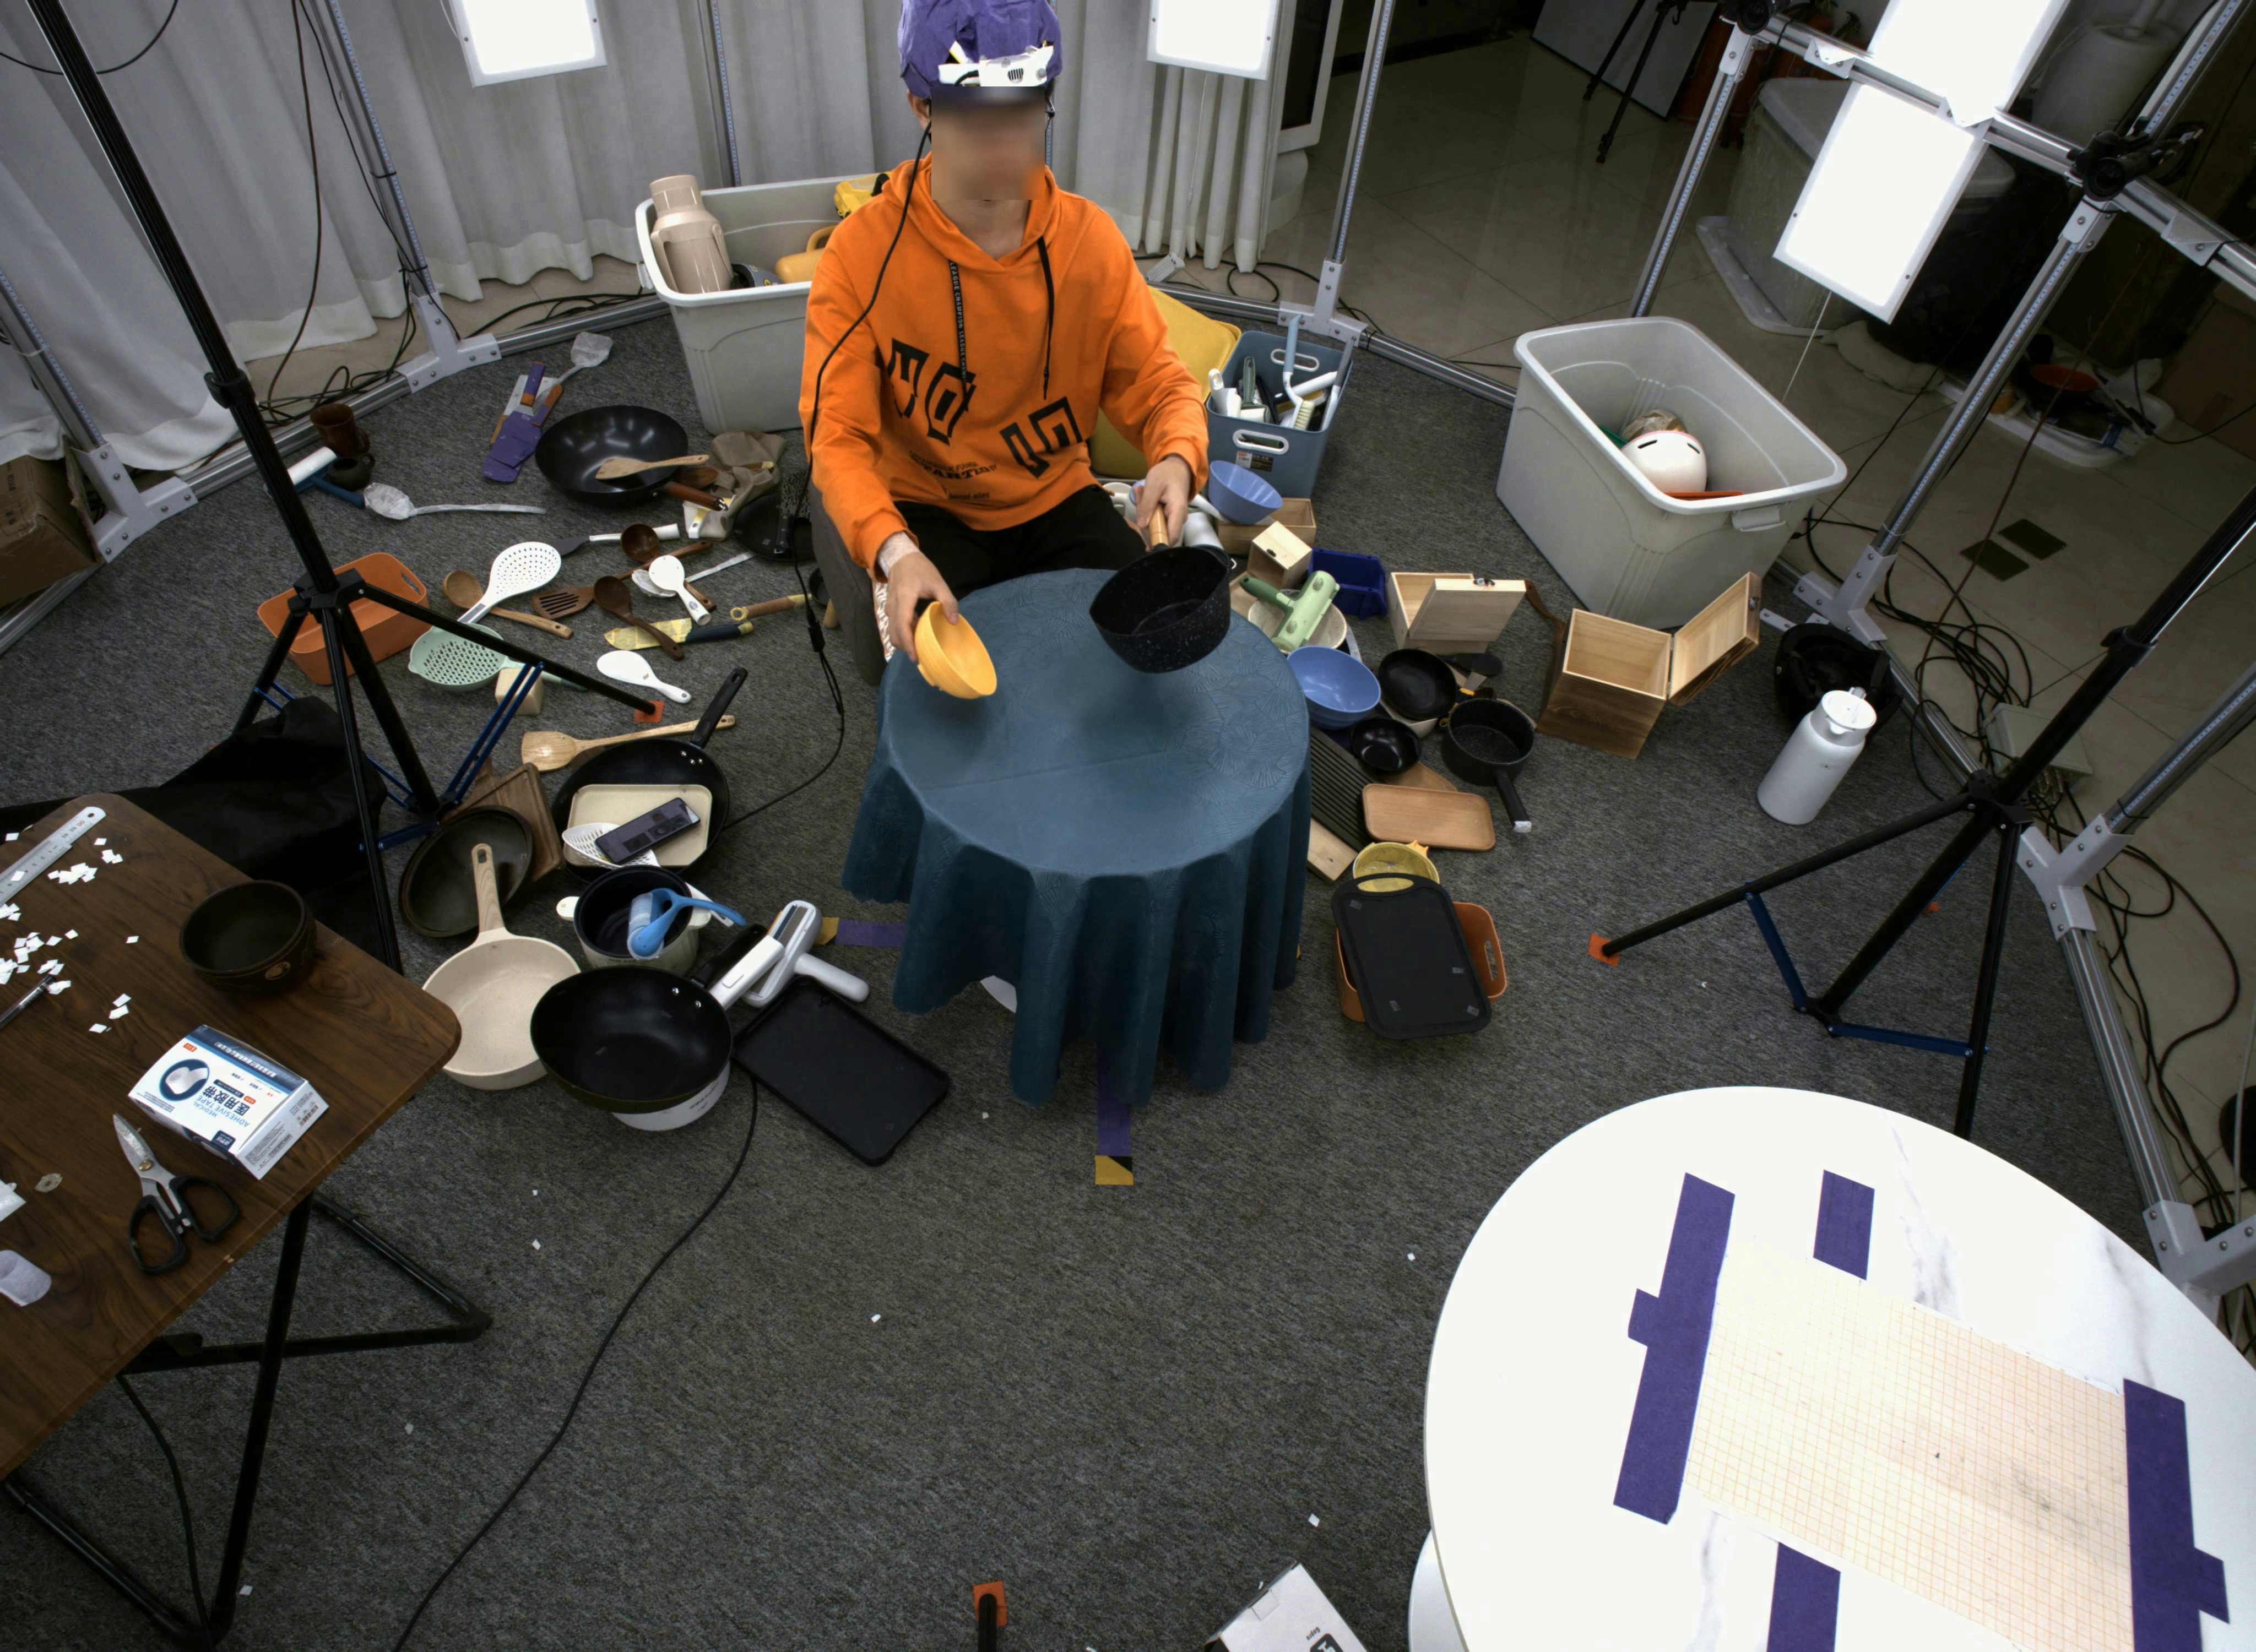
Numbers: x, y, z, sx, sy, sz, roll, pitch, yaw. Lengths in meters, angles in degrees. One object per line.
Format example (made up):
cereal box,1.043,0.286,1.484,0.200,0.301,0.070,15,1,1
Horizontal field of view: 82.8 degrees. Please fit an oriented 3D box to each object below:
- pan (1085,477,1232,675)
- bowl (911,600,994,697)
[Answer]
pan,0.048,-0.348,1.777,0.207,0.106,0.351,-16,42,15
bowl,-0.246,-0.226,1.726,0.060,0.142,0.149,-31,48,19
